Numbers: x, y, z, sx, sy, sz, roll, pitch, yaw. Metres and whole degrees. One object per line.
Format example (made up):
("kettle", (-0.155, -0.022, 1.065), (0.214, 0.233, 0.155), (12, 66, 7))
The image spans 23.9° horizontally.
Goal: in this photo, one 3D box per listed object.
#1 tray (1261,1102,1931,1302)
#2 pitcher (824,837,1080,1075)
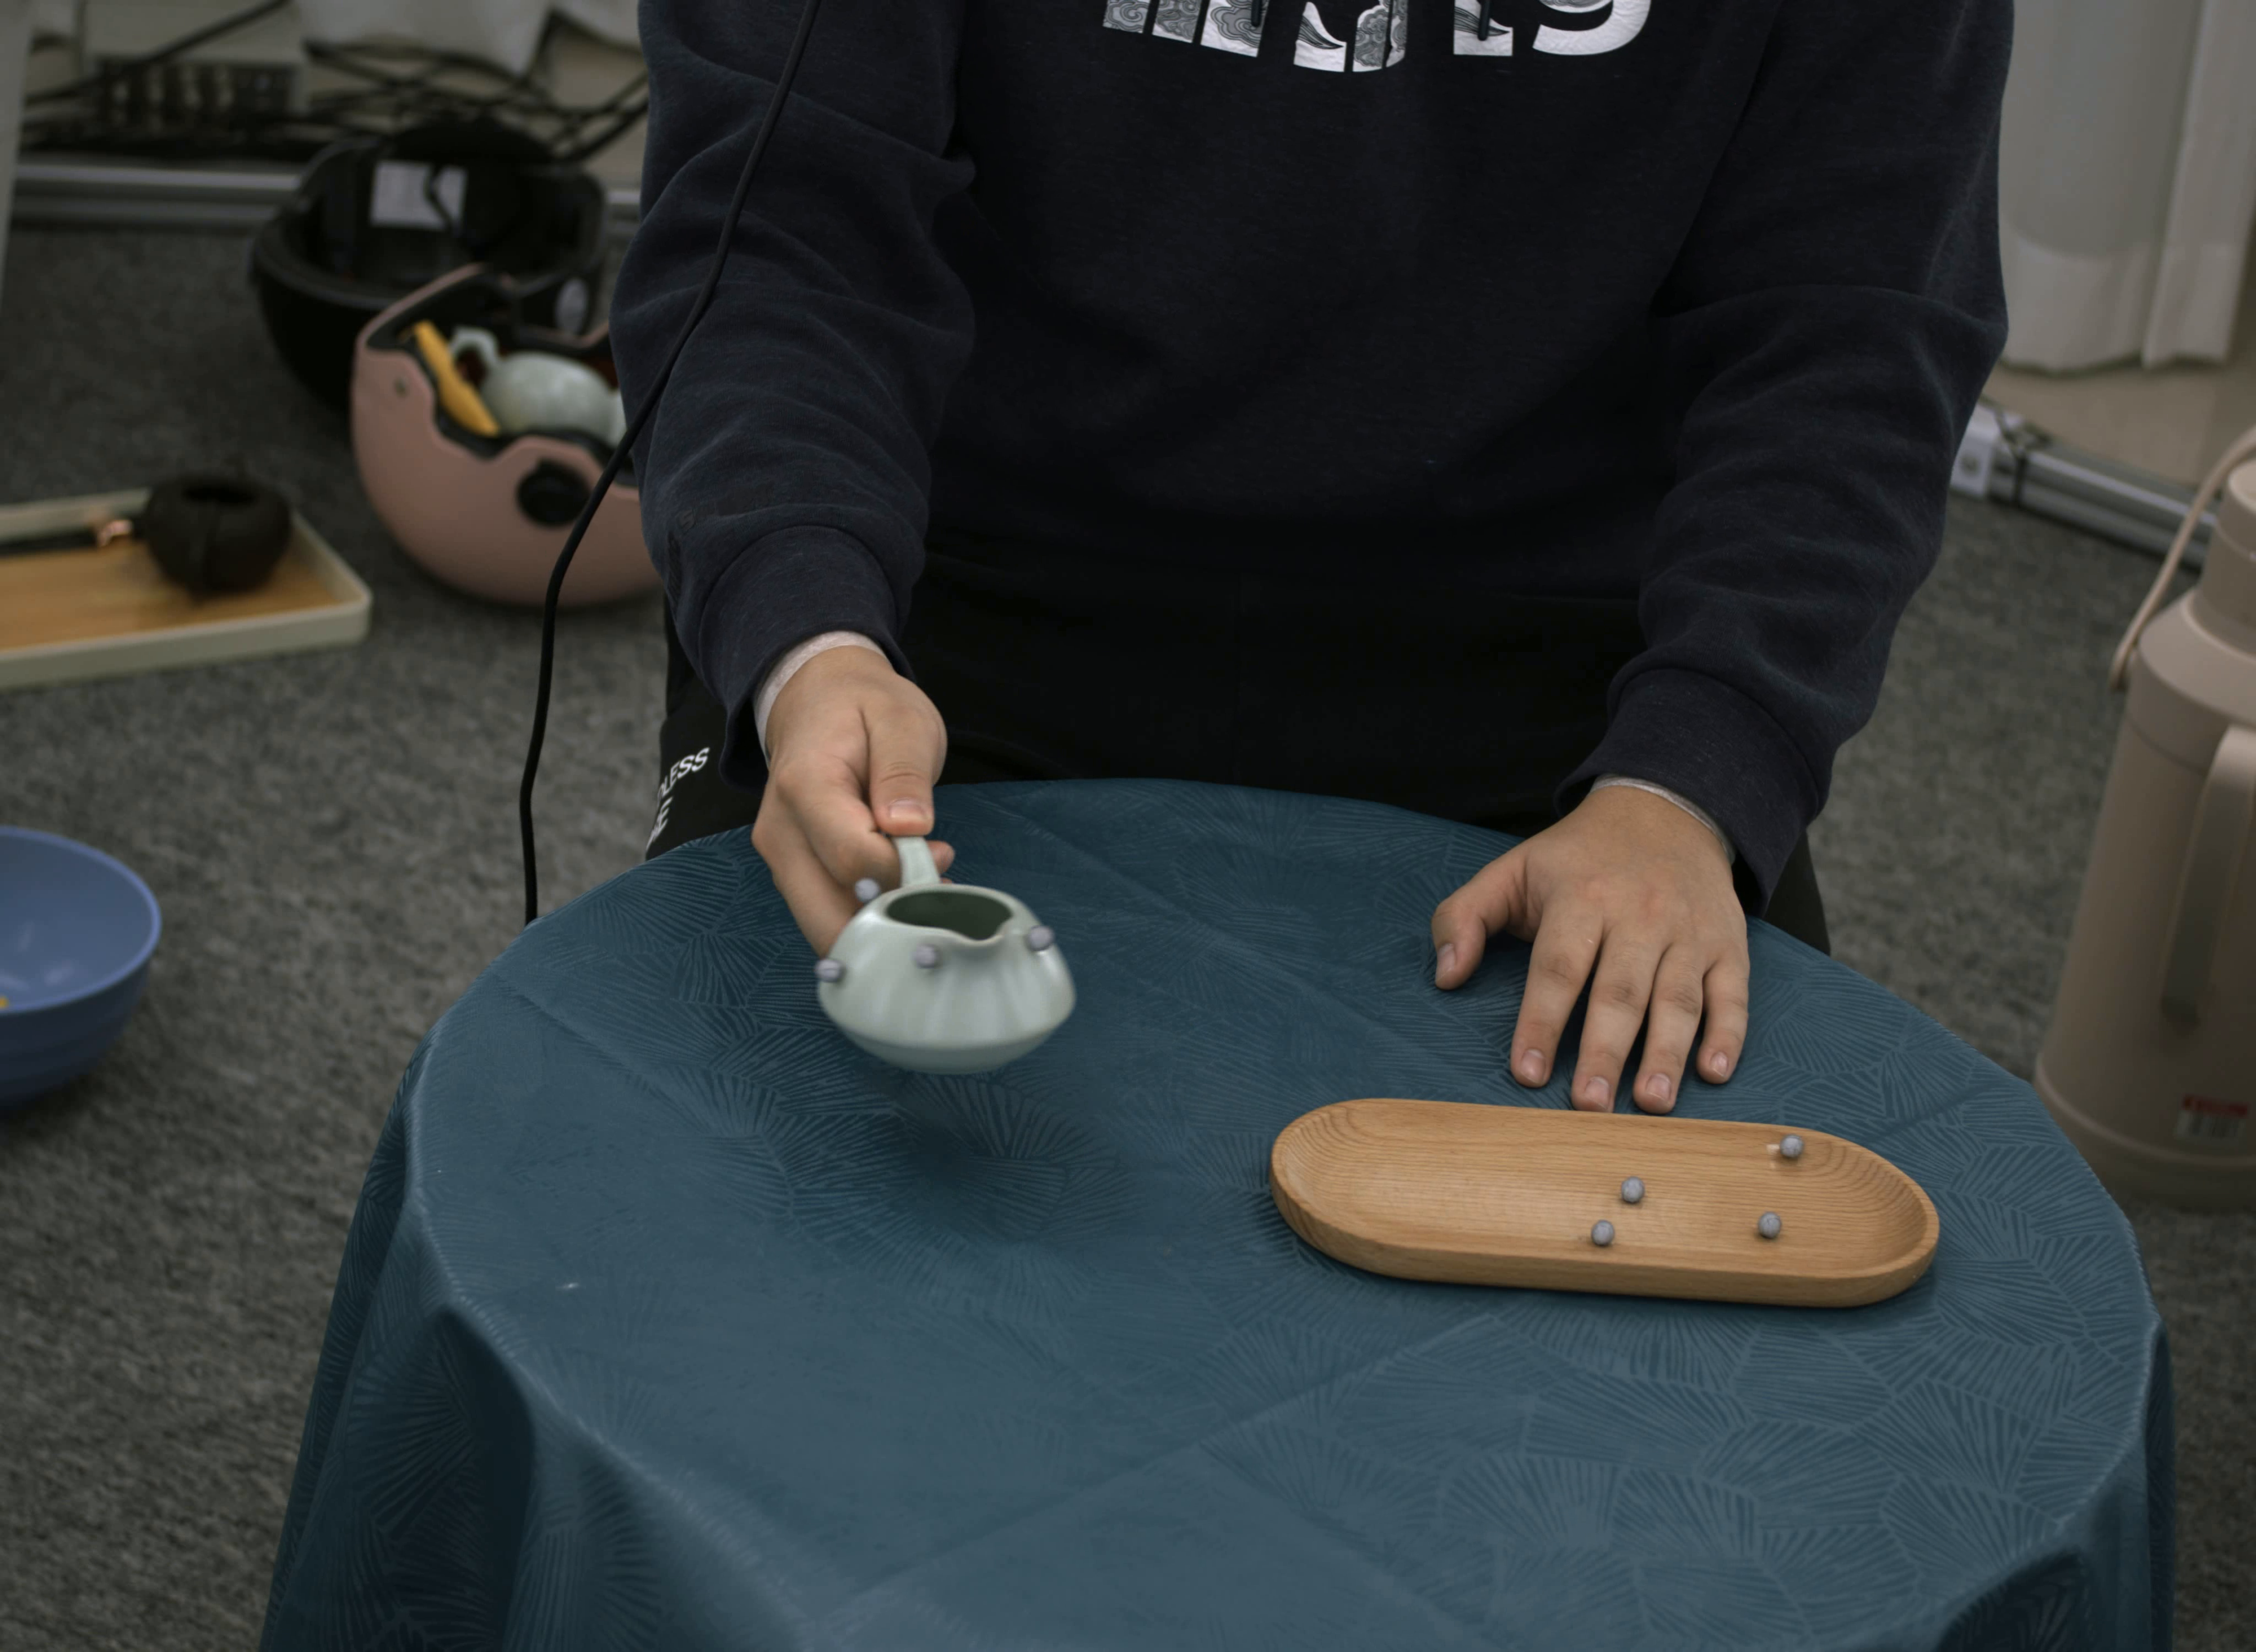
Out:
("tray", (0.160, 0.129, 1.817), (0.230, 0.020, 0.102), (2, 26, -5))
("pitcher", (-0.063, 0.045, 1.800), (0.085, 0.060, 0.109), (-4, 20, -20))
